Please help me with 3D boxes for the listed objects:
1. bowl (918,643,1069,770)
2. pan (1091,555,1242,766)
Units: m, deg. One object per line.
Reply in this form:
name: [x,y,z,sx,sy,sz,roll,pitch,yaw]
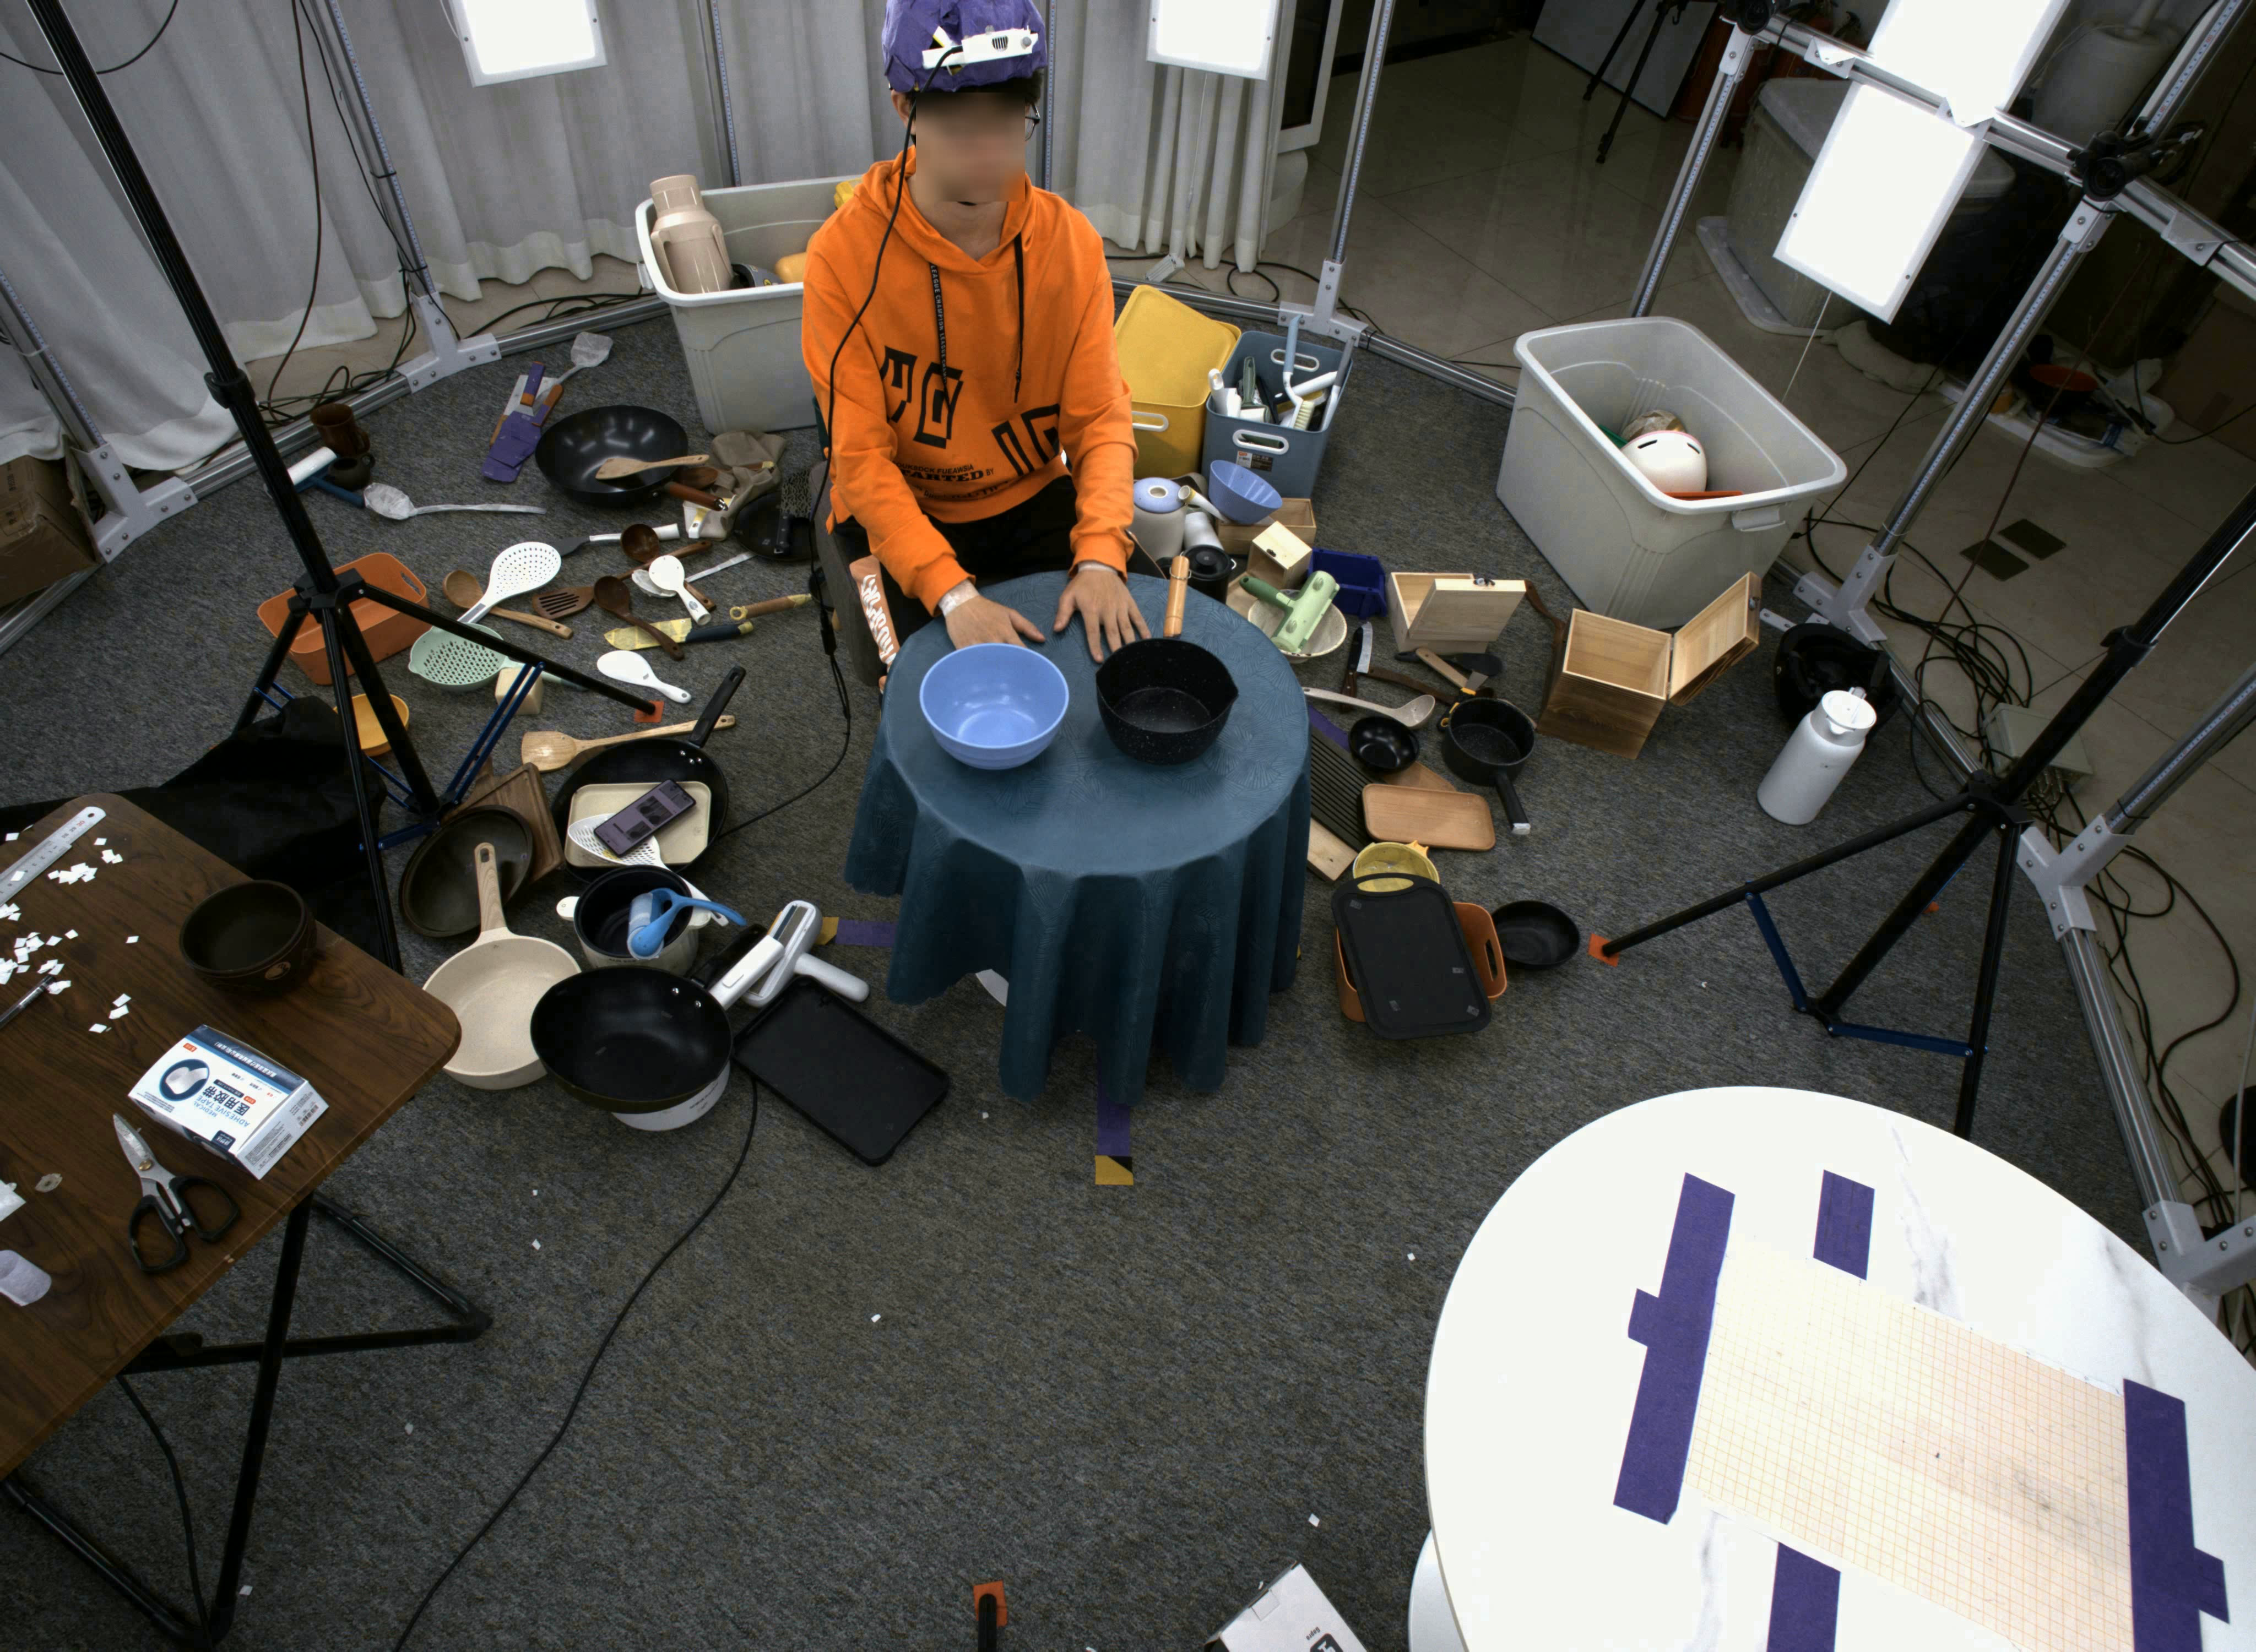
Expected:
bowl: [-0.178,-0.145,1.720,0.196,0.093,0.201,1,50,-2]
pan: [0.057,-0.234,1.806,0.207,0.105,0.351,5,50,2]
